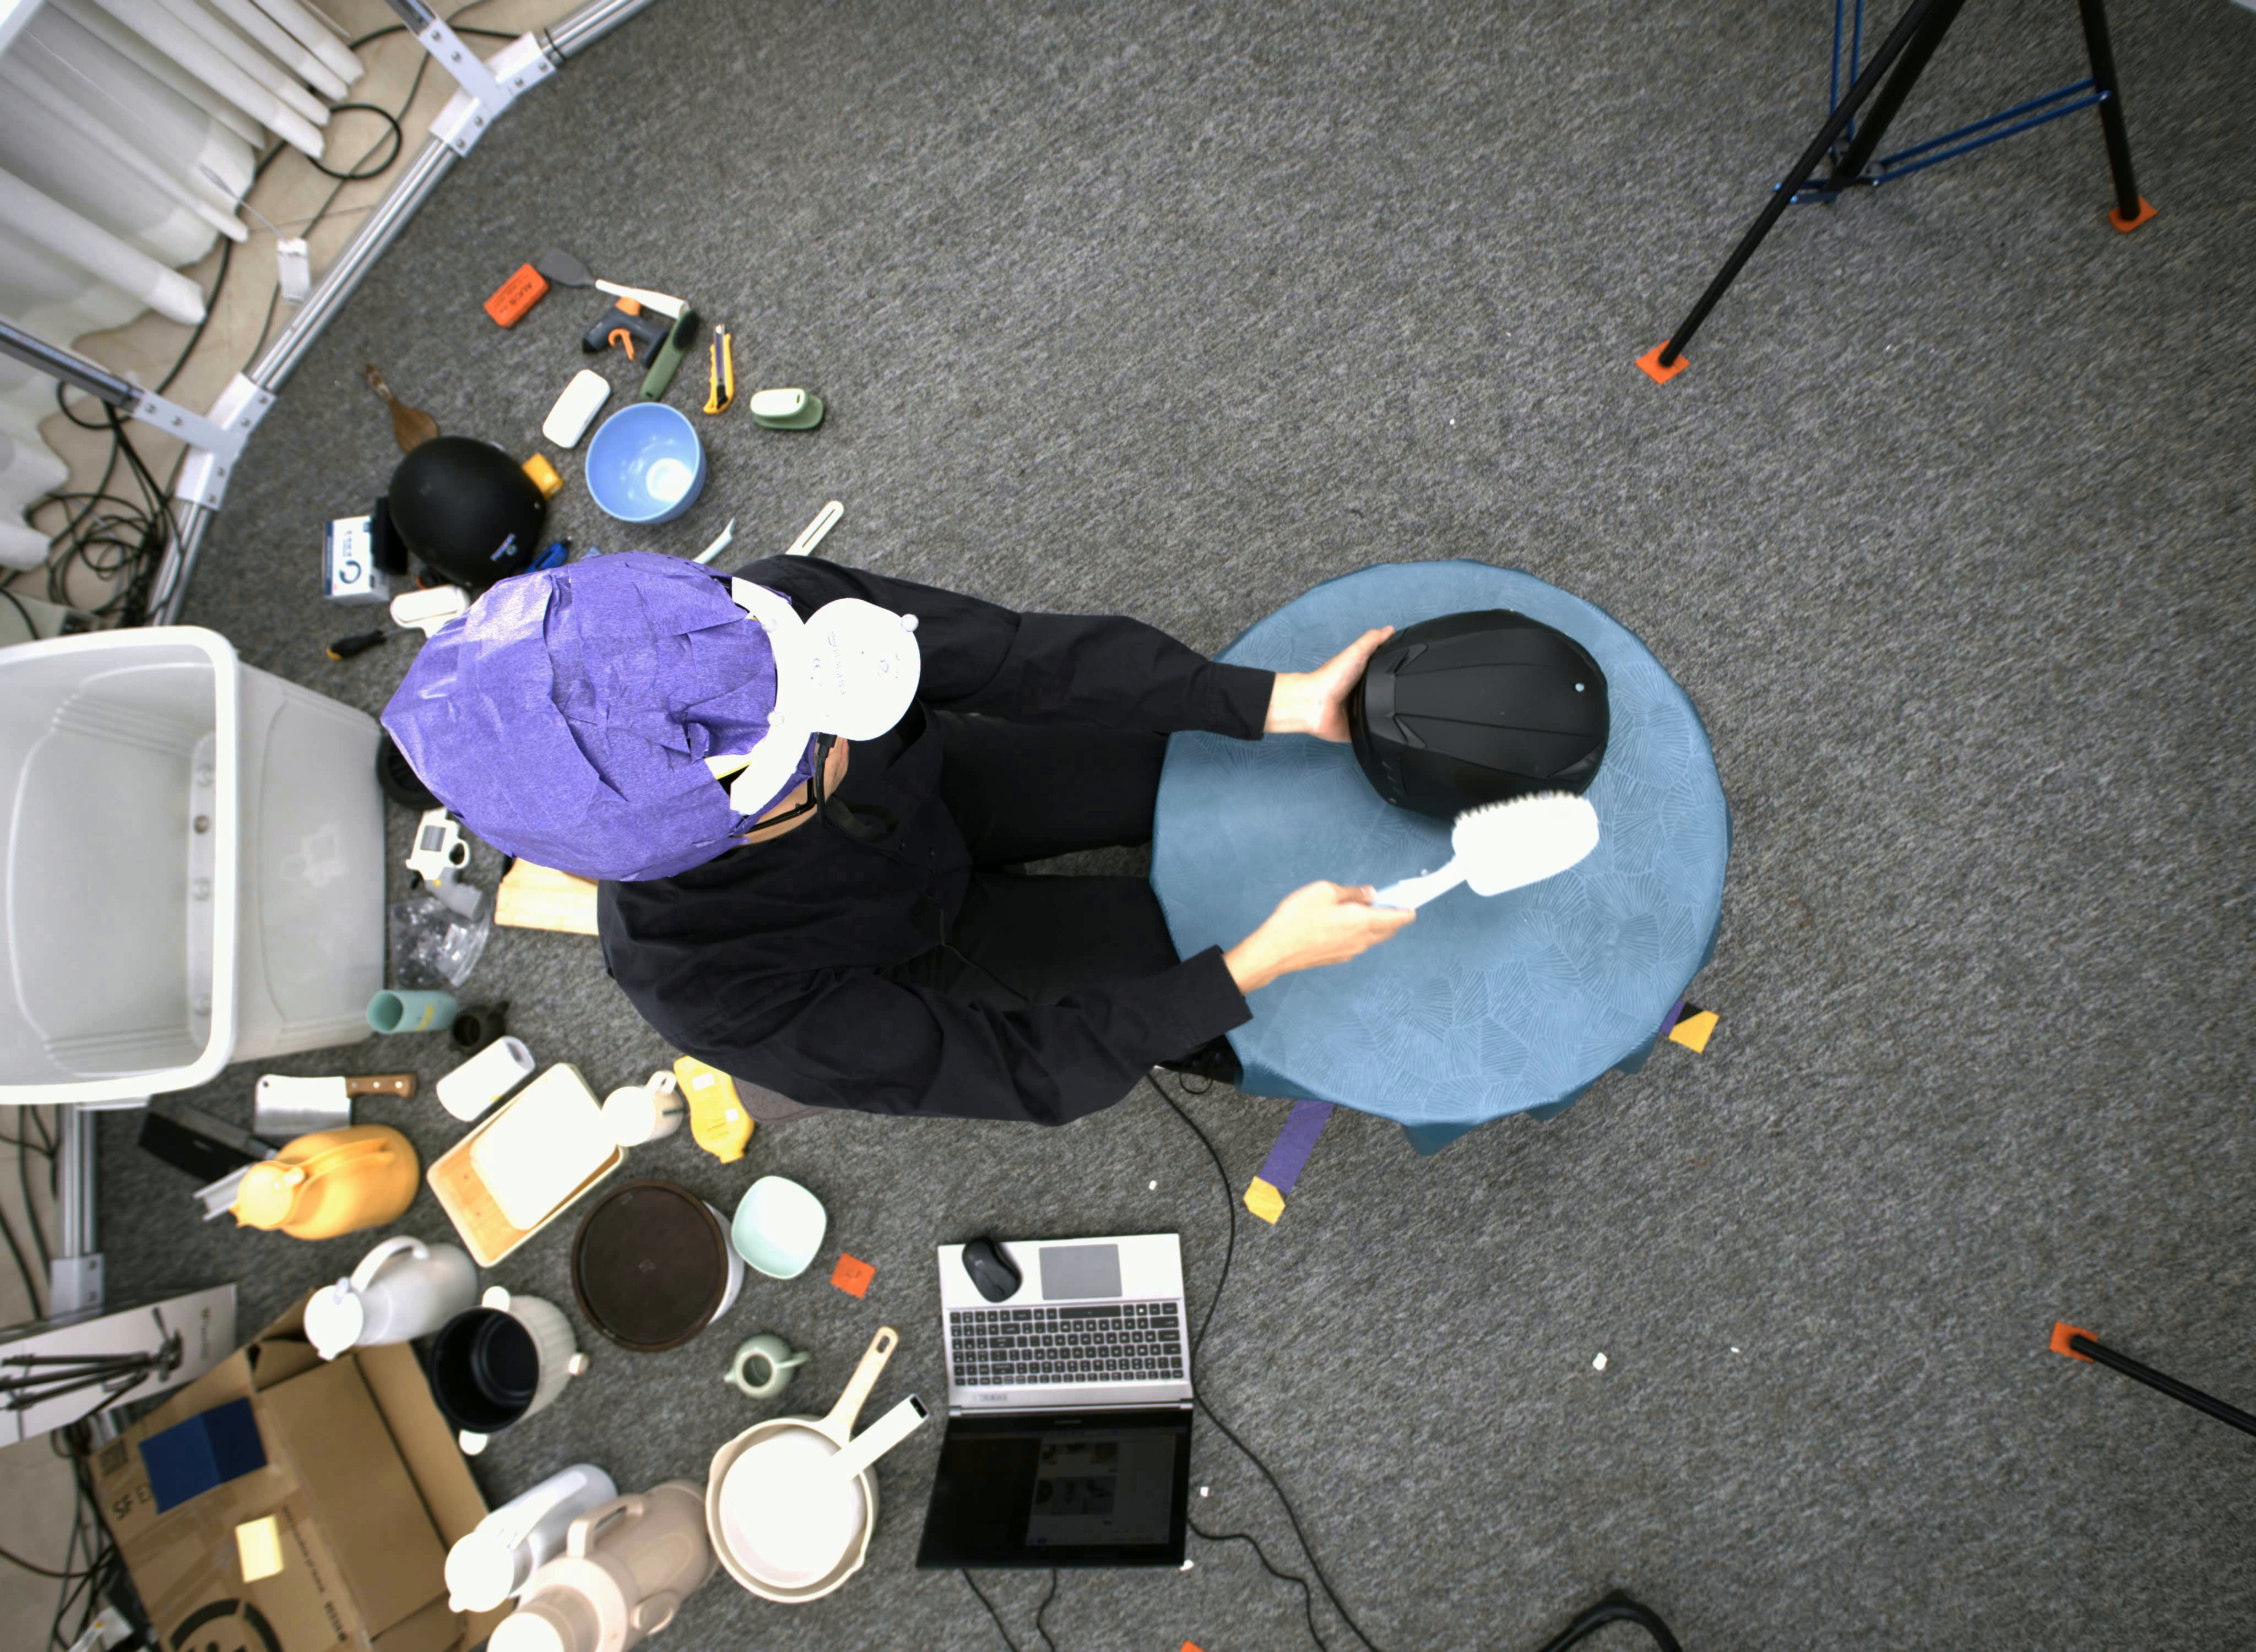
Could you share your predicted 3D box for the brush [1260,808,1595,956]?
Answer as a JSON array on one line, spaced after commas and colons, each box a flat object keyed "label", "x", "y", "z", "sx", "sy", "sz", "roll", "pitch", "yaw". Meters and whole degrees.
[{"label": "brush", "x": 0.278, "y": 0.049, "z": 1.301, "sx": 0.328, "sy": 0.085, "sz": 0.081, "roll": -20, "pitch": 62, "yaw": 12}]

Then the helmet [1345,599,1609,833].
[{"label": "helmet", "x": 0.357, "y": -0.120, "z": 1.363, "sx": 0.277, "sy": 0.173, "sz": 0.246, "roll": 3, "pitch": 87, "yaw": -4}]
